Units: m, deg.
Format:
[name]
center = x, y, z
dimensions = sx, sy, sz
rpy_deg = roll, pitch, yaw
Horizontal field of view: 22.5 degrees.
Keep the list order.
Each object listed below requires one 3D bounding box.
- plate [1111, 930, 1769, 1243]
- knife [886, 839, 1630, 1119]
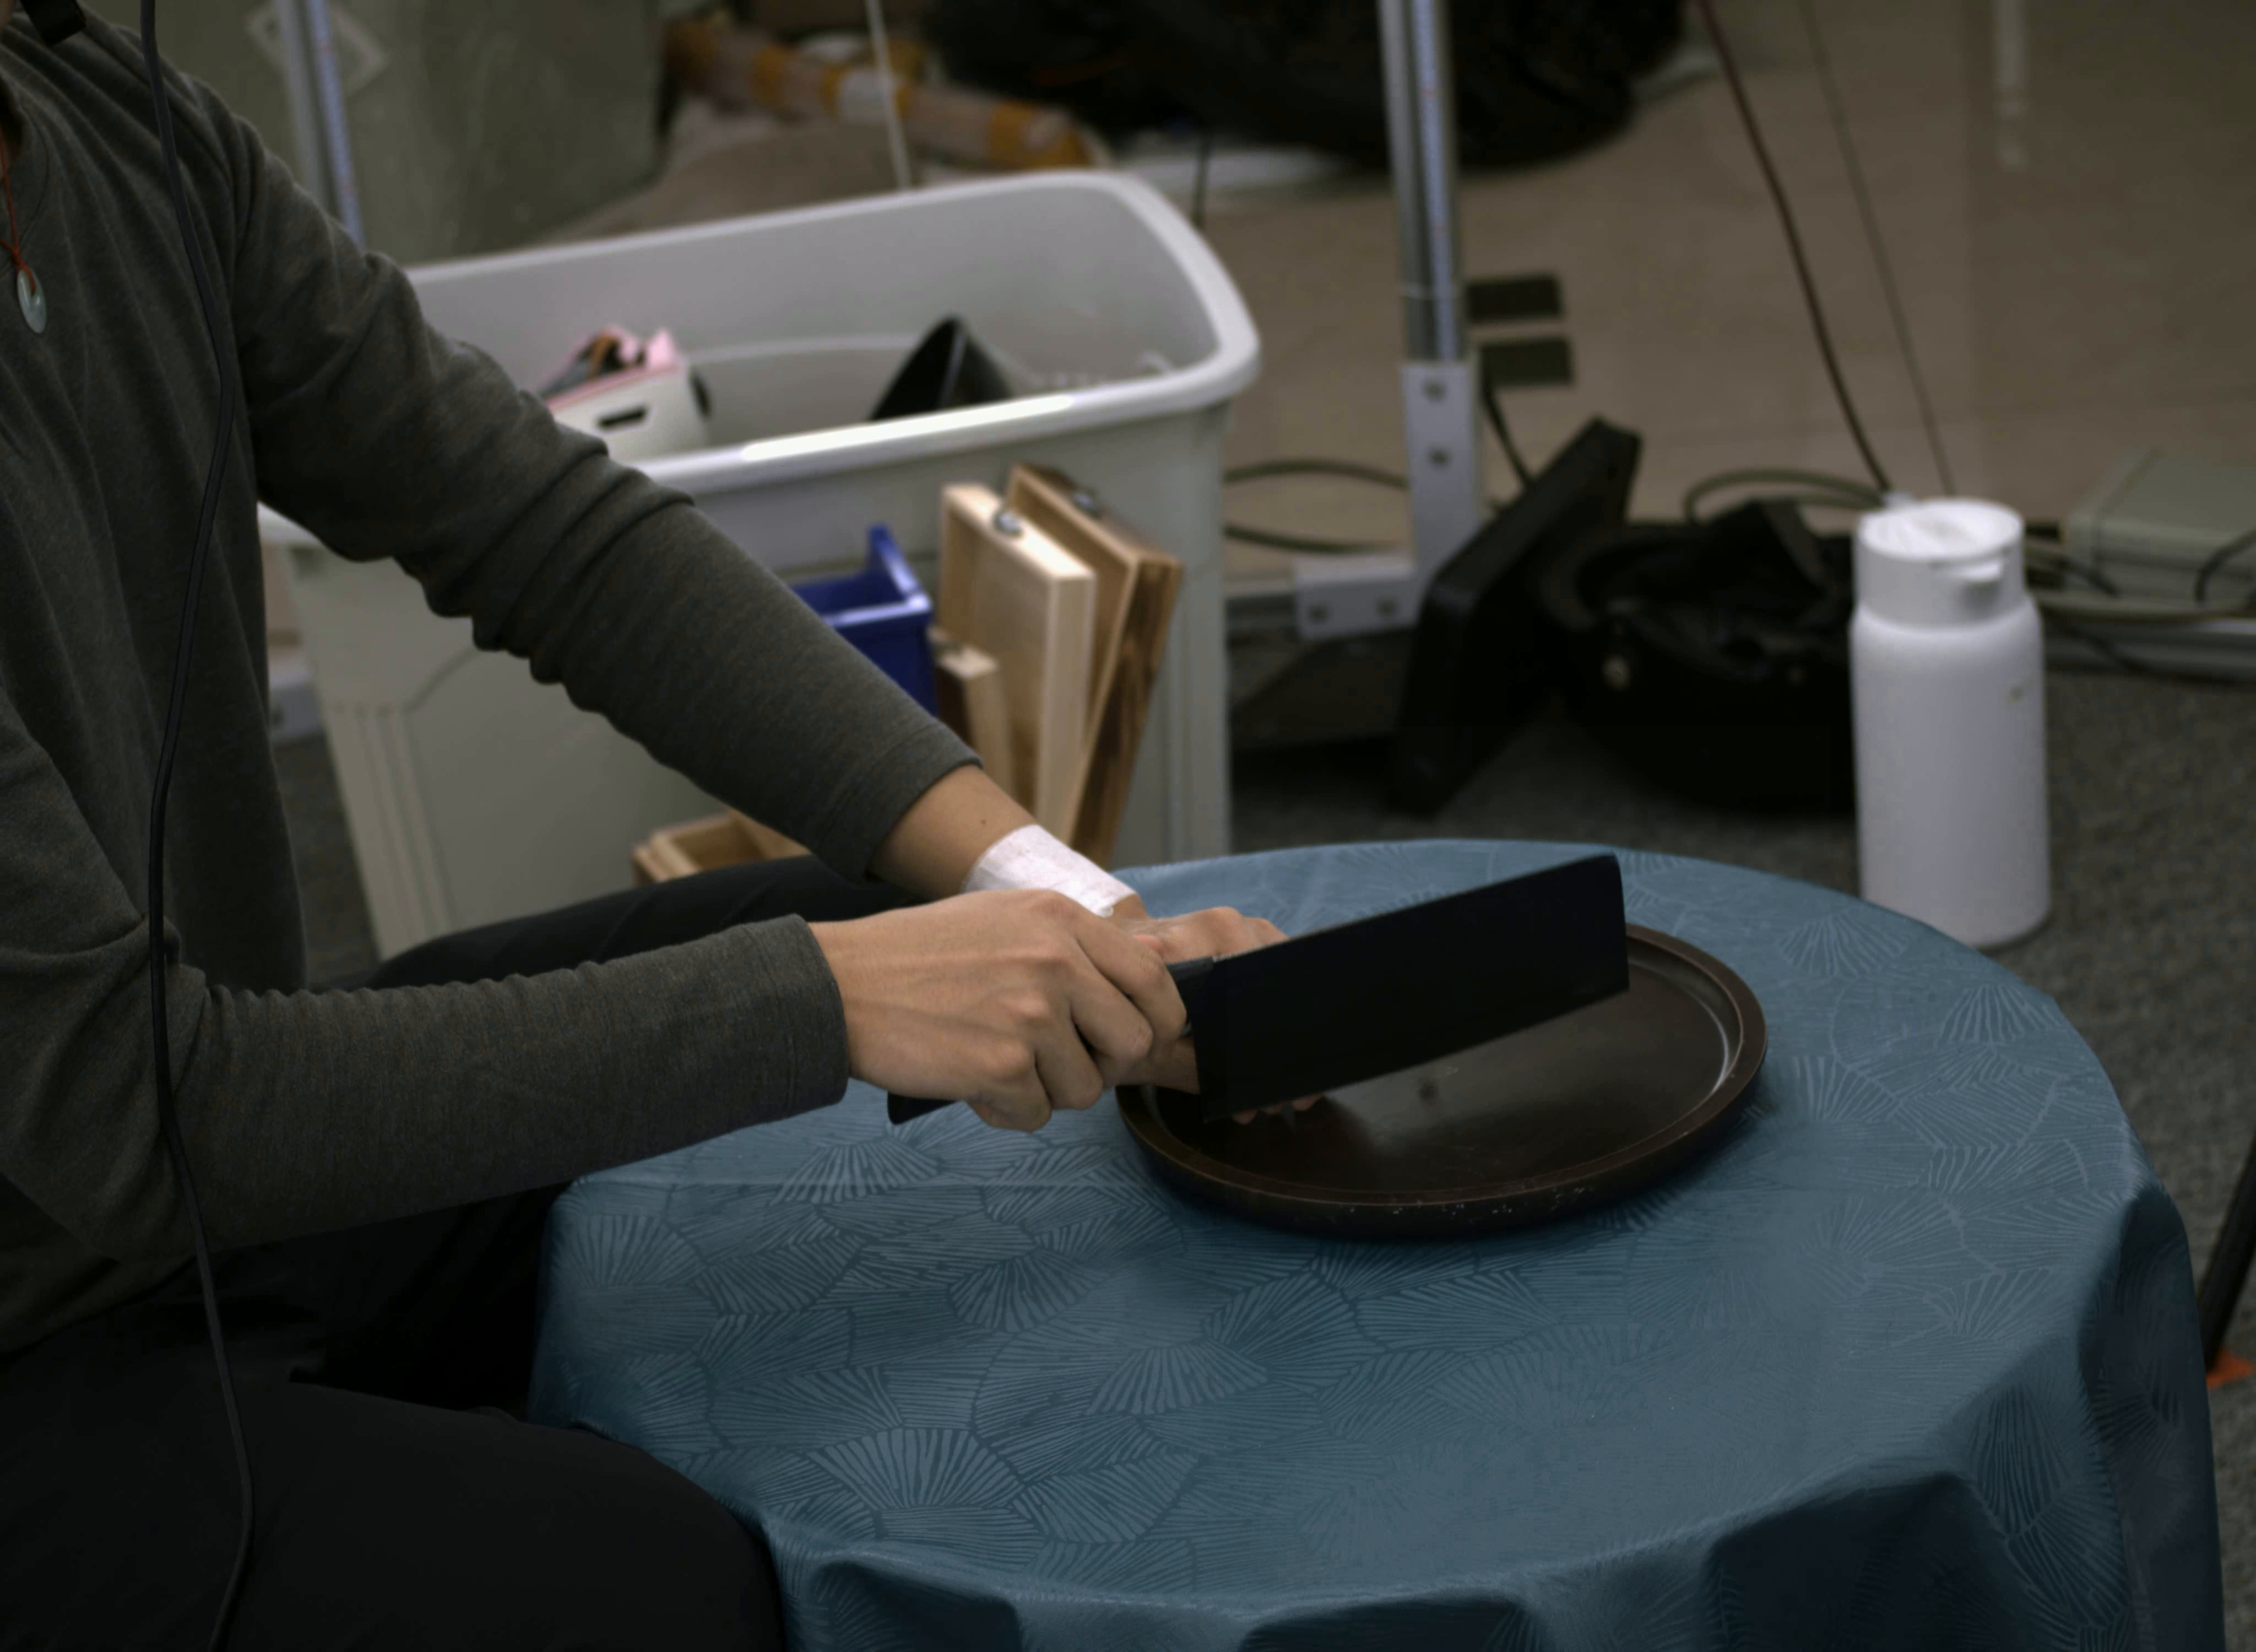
[plate]
center = 0.120, 0.095, 2.189
dimensions = 0.254, 0.029, 0.251
rpy_deg = -5, 26, 3
[knife]
center = 0.052, 0.067, 2.131
dimensions = 0.301, 0.082, 0.020
rpy_deg = -11, 24, -18
